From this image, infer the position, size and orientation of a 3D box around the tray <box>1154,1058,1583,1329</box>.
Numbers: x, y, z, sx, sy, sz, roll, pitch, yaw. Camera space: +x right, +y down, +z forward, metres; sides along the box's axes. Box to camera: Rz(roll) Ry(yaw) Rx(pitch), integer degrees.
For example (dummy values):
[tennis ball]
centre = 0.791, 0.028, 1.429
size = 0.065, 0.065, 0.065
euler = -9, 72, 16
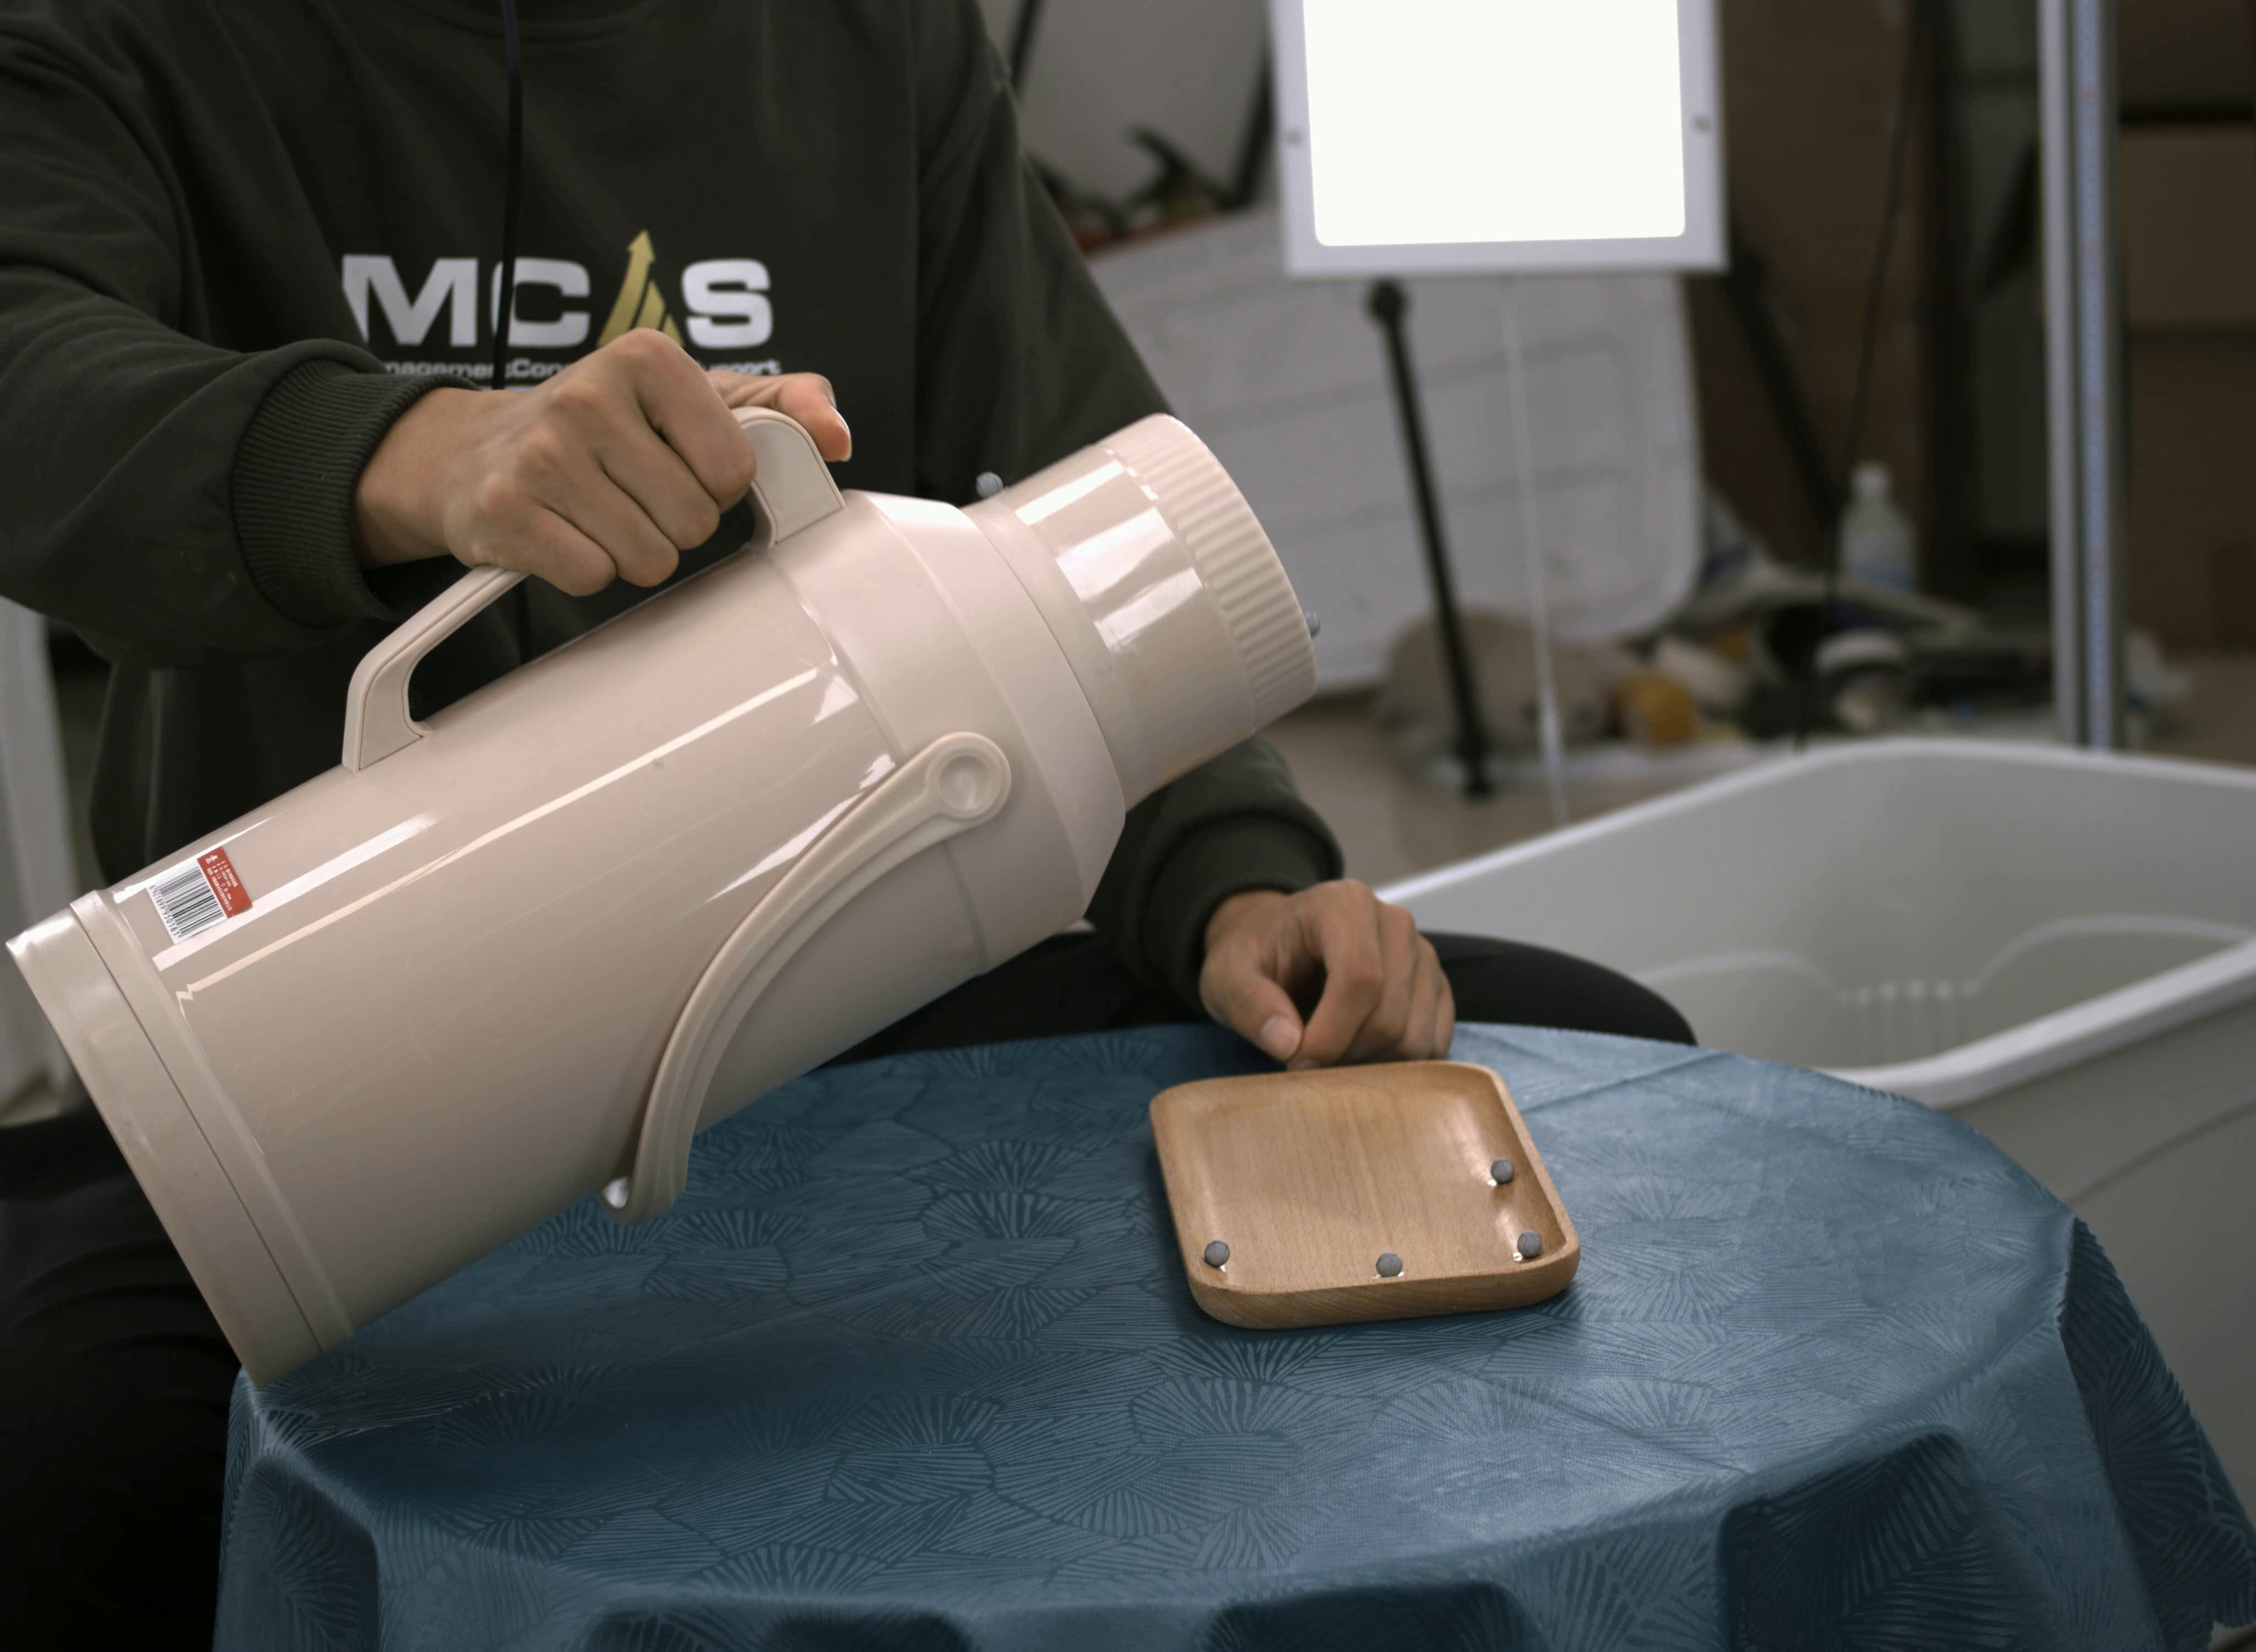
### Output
[tray]
centre = 0.078, 0.122, 1.858
size = 0.130, 0.023, 0.250
euler = -3, 13, -1

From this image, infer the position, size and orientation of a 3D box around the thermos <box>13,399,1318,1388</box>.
[thermos]
centre = -0.144, -0.004, 1.729
size = 0.403, 0.206, 0.177
euler = -30, 16, -7
